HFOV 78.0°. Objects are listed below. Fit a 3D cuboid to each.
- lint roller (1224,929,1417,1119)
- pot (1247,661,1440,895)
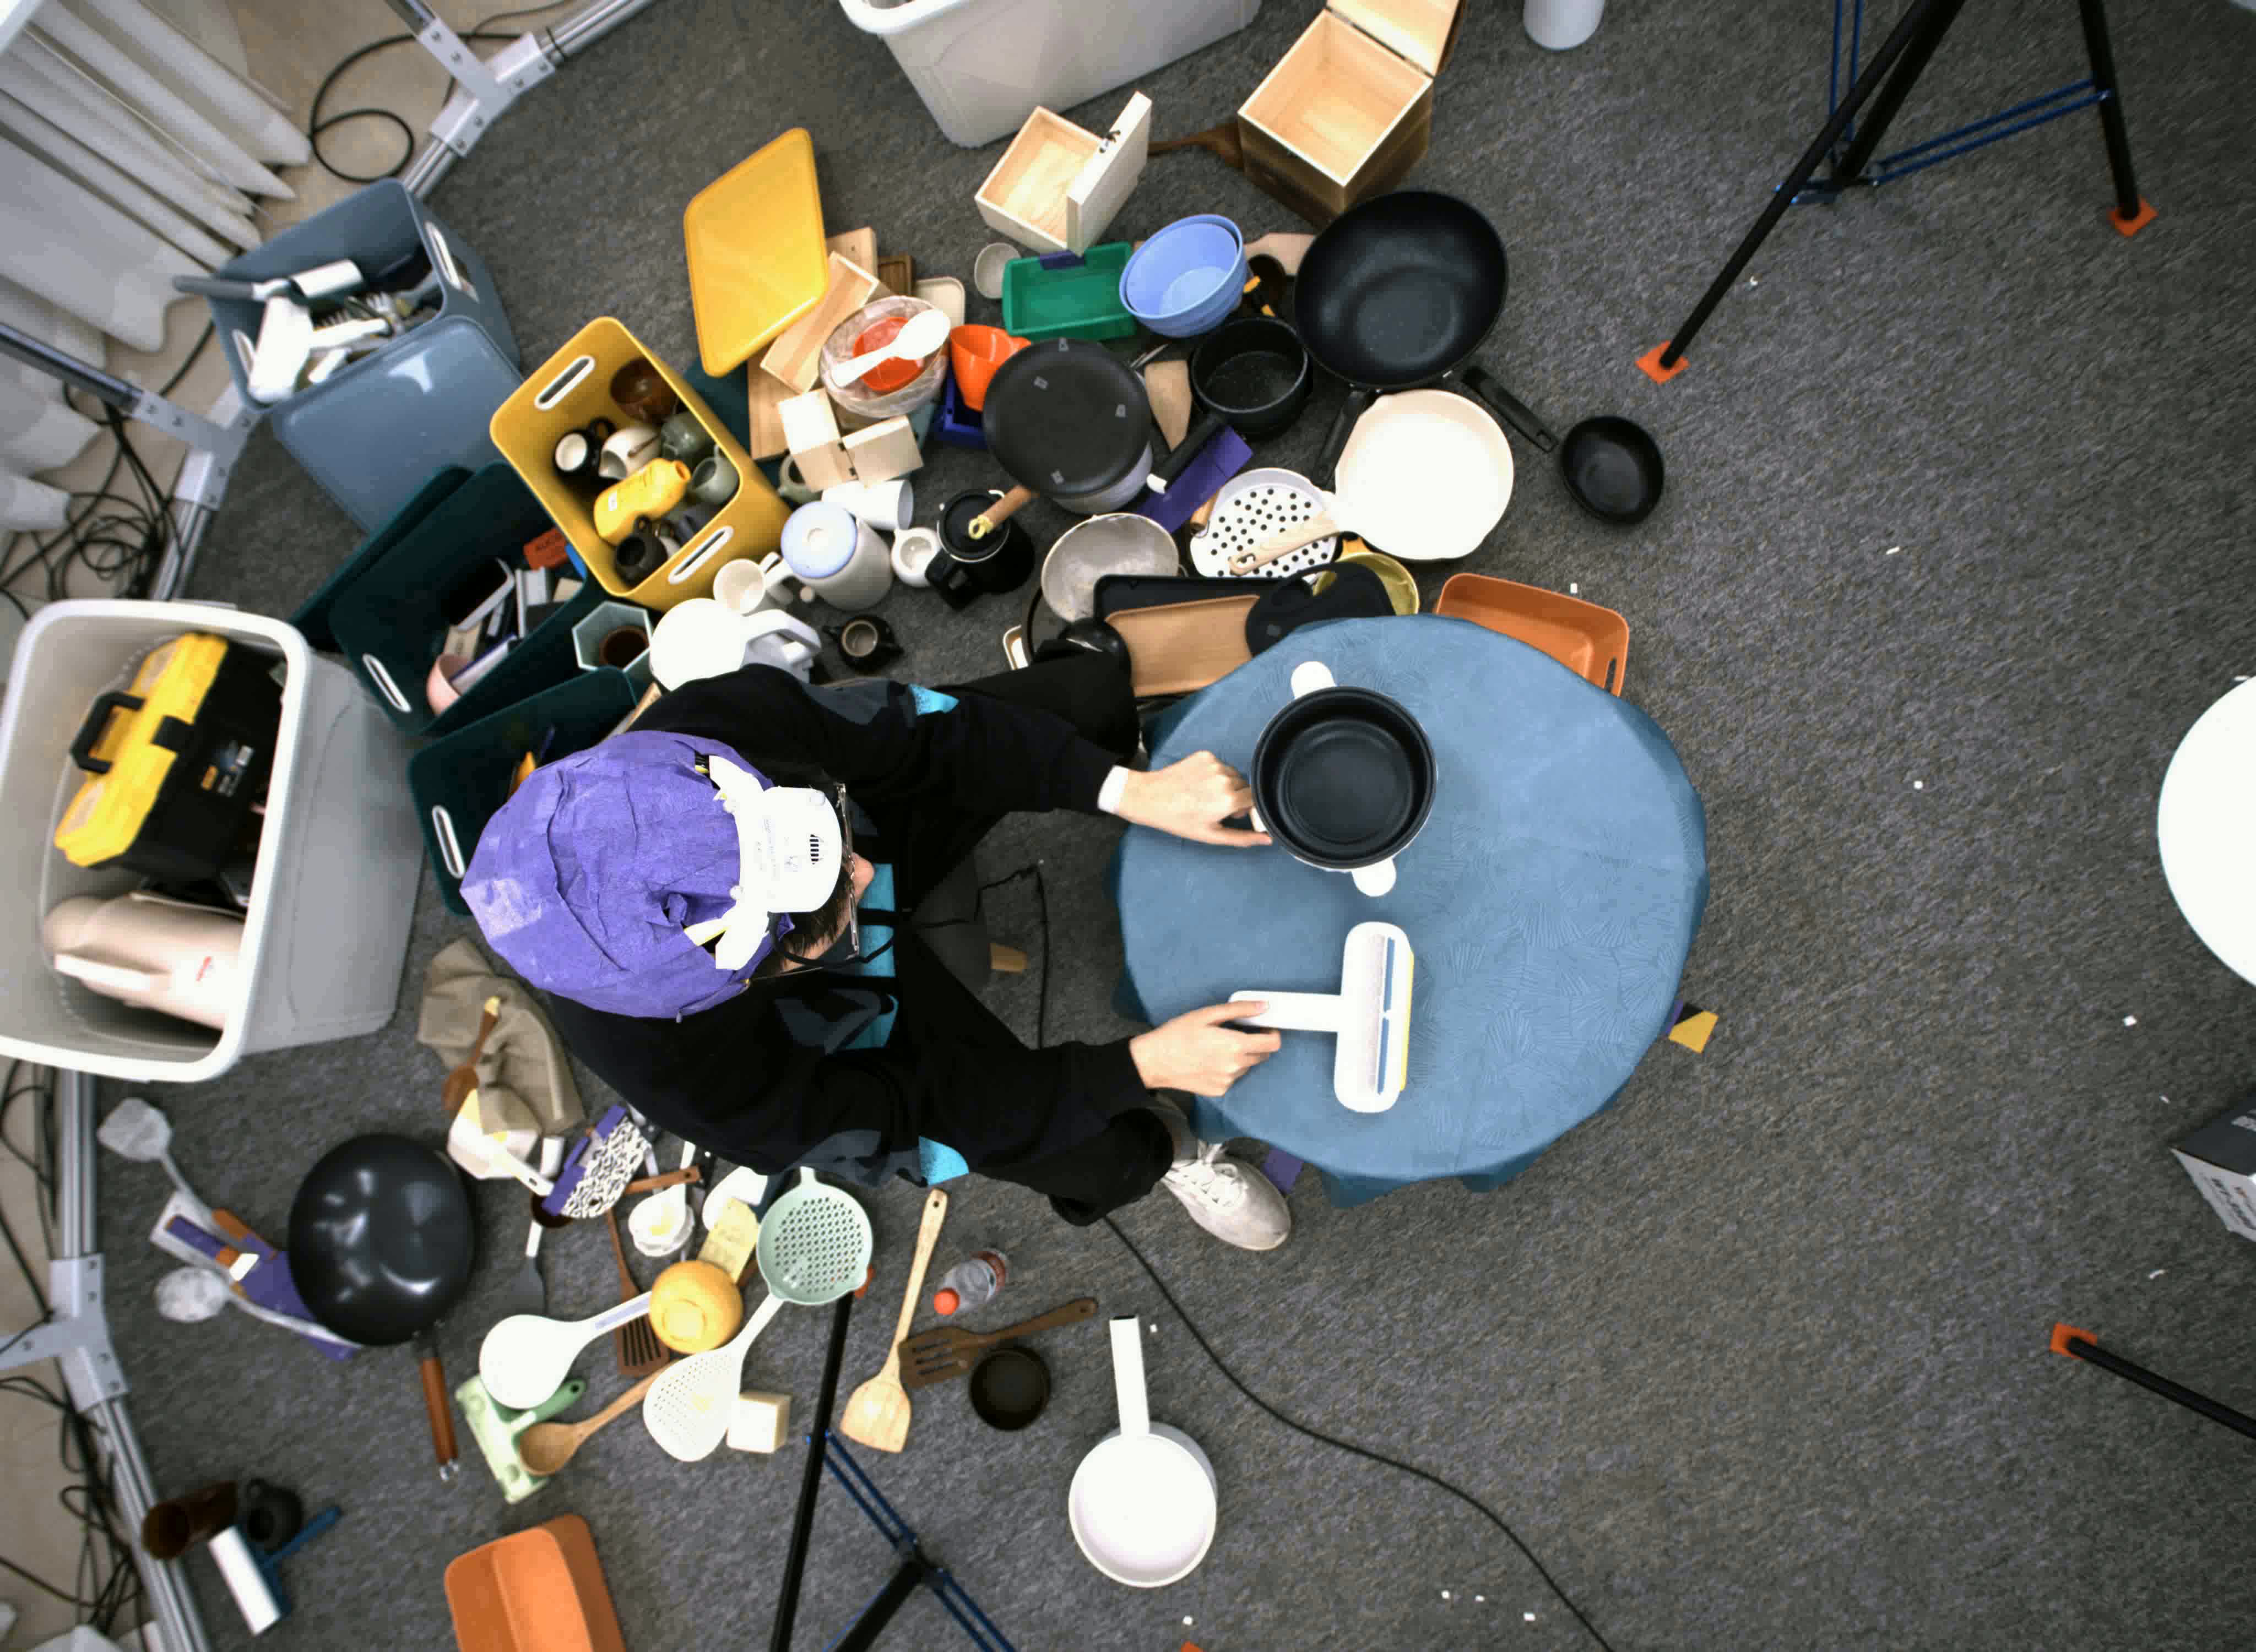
[{"bbox_3d":[0.192,0.194,1.429,0.193,0.074,0.191,8,83,12],"label":"lint roller"},{"bbox_3d":[0.214,-0.040,1.400,0.191,0.143,0.239,-18,82,6],"label":"pot"}]
